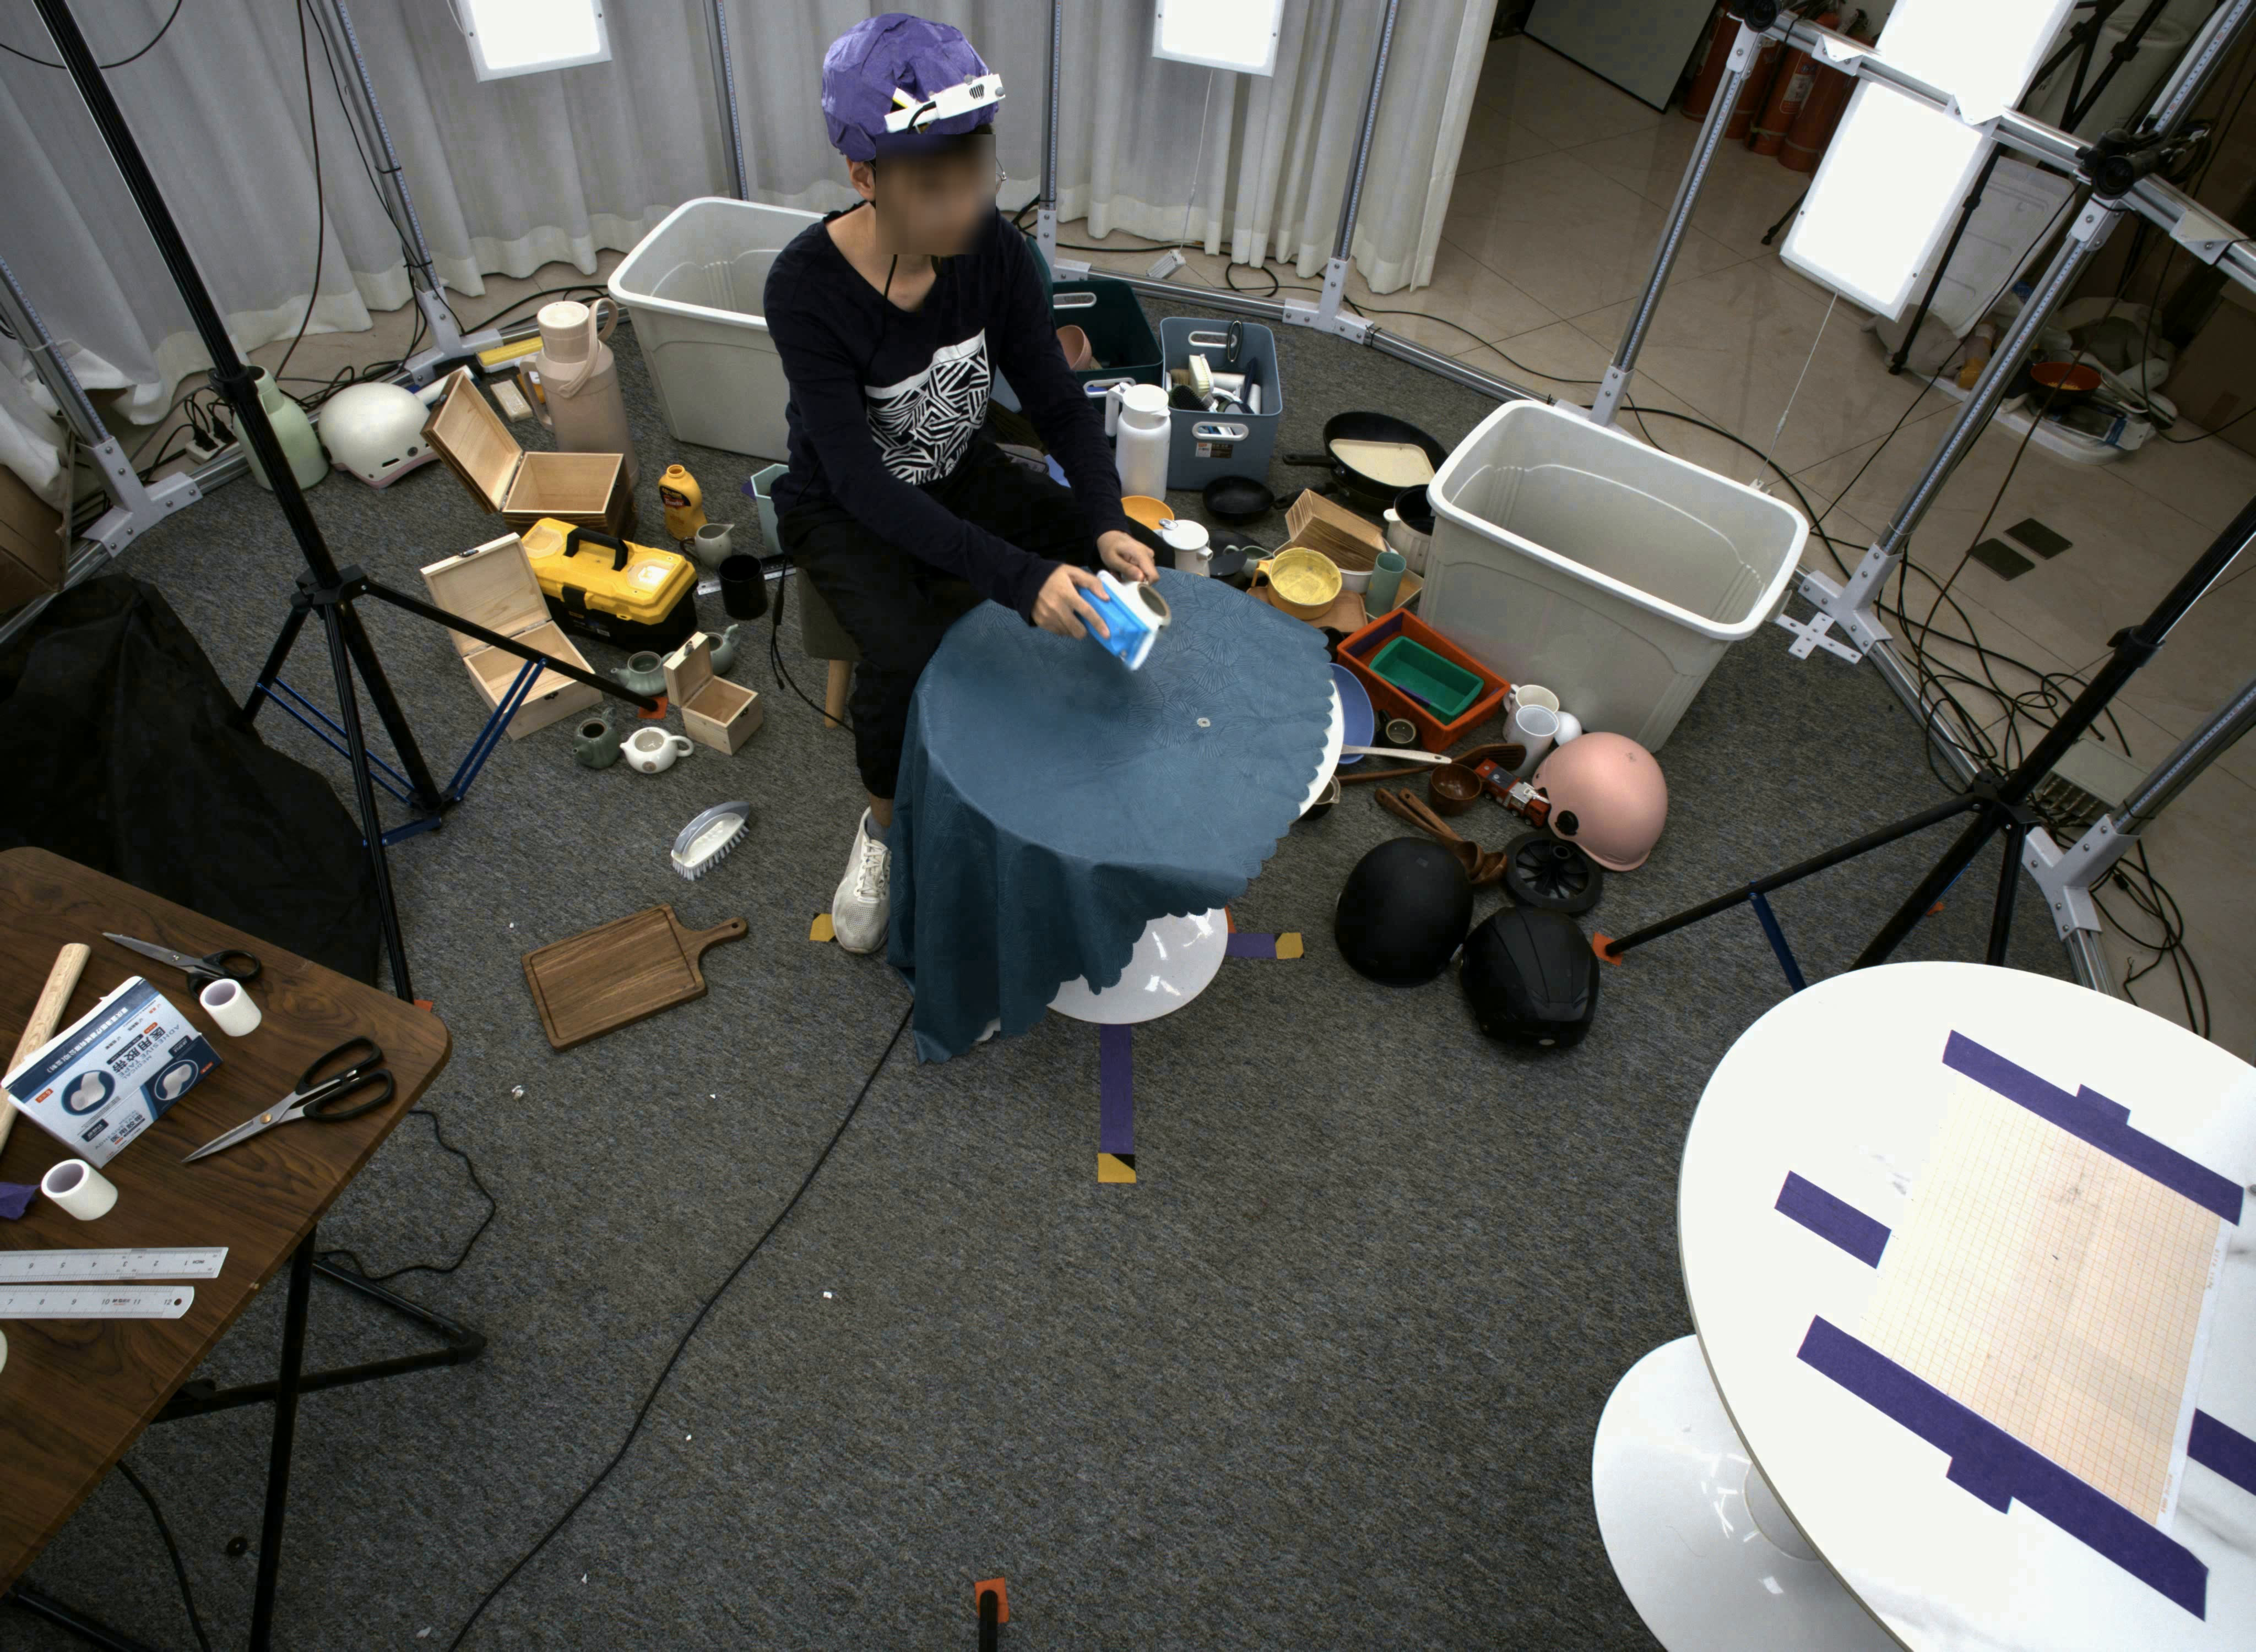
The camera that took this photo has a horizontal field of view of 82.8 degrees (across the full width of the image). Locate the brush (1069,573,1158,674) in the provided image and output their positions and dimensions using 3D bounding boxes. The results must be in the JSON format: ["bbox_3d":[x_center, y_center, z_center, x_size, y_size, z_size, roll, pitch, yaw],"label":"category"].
[{"bbox_3d":[-0.028,-0.272,1.721,0.146,0.082,0.056,45,29,27],"label":"brush"}]

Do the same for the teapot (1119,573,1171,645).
[{"bbox_3d":[0.014,-0.301,1.786,0.090,0.059,0.131,19,41,-39],"label":"teapot"}]
